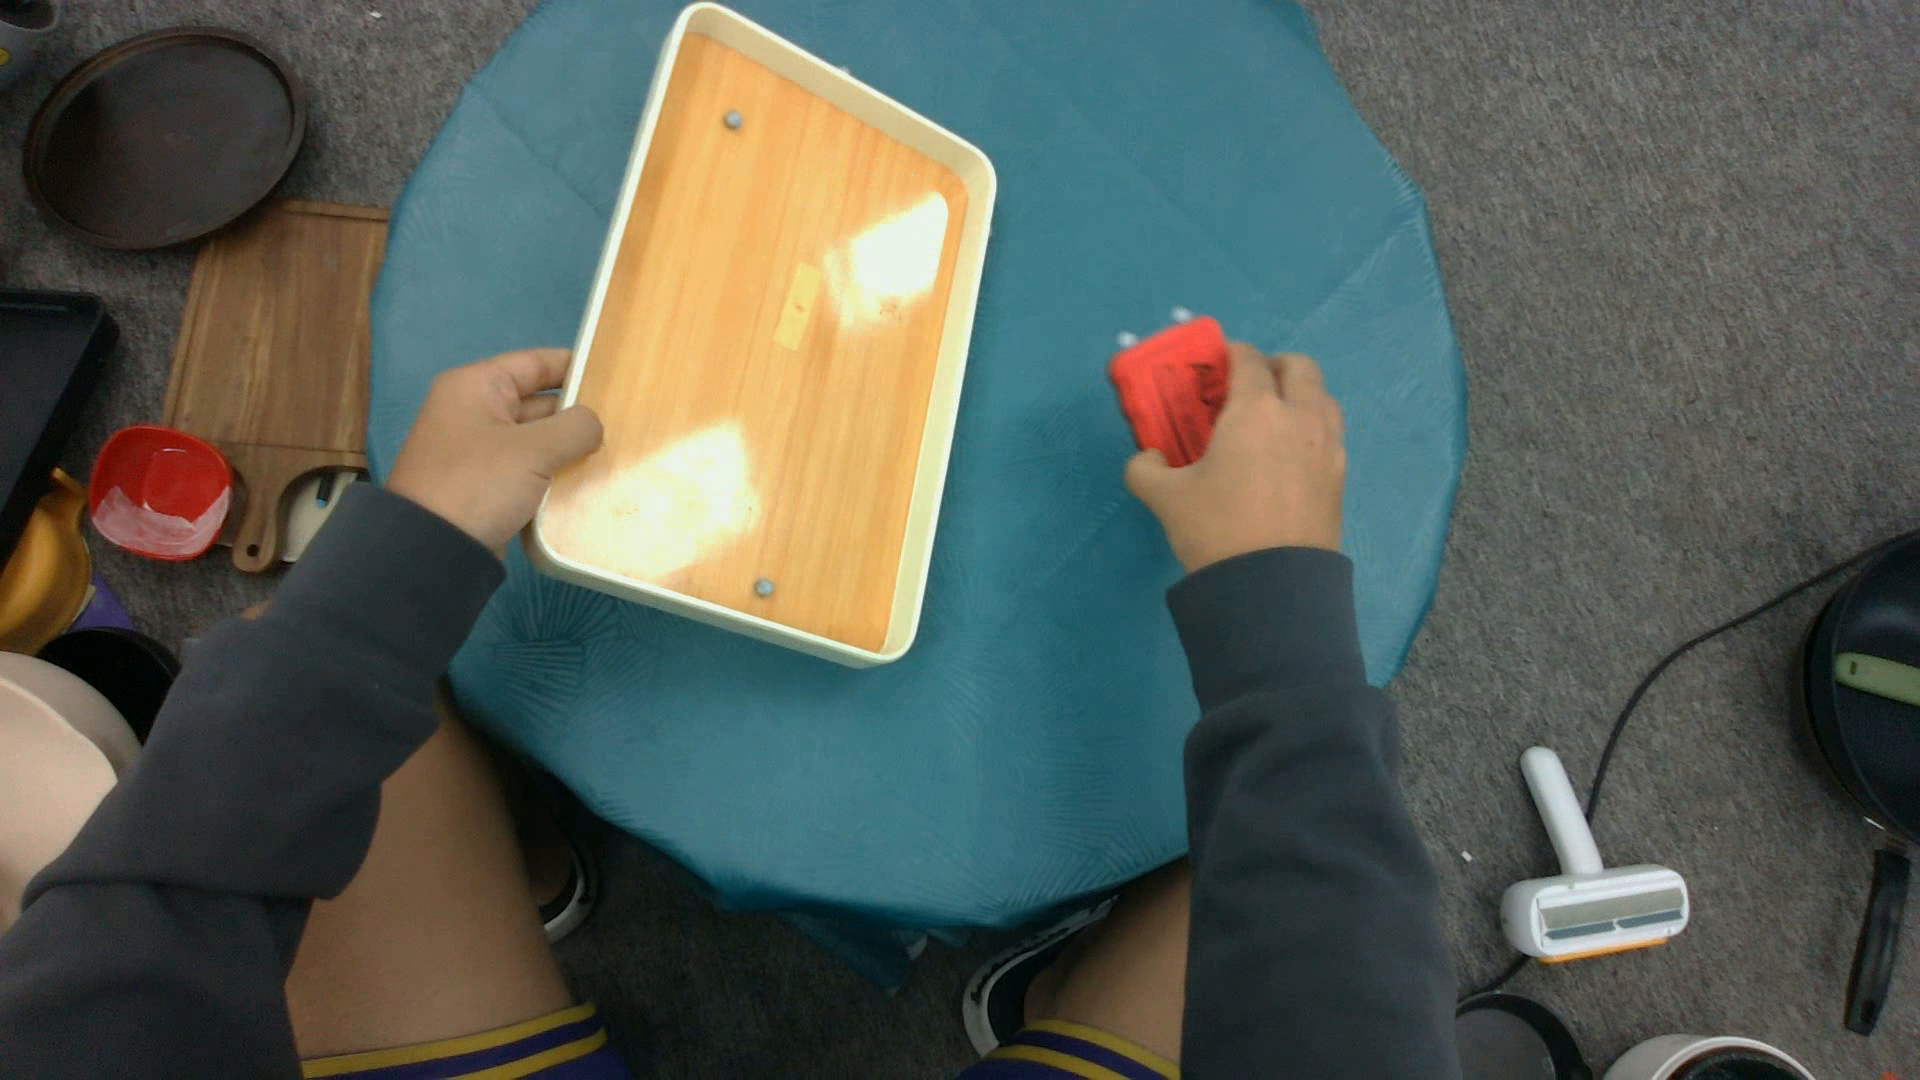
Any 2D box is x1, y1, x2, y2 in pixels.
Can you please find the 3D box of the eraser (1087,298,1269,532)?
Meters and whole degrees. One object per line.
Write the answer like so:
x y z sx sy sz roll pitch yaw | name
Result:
0.109 -0.062 0.685 0.059 0.023 0.108 -29 100 -18 | eraser

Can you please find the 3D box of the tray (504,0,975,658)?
-0.095 -0.106 0.679 0.192 0.027 0.301 20 66 -28 | tray
